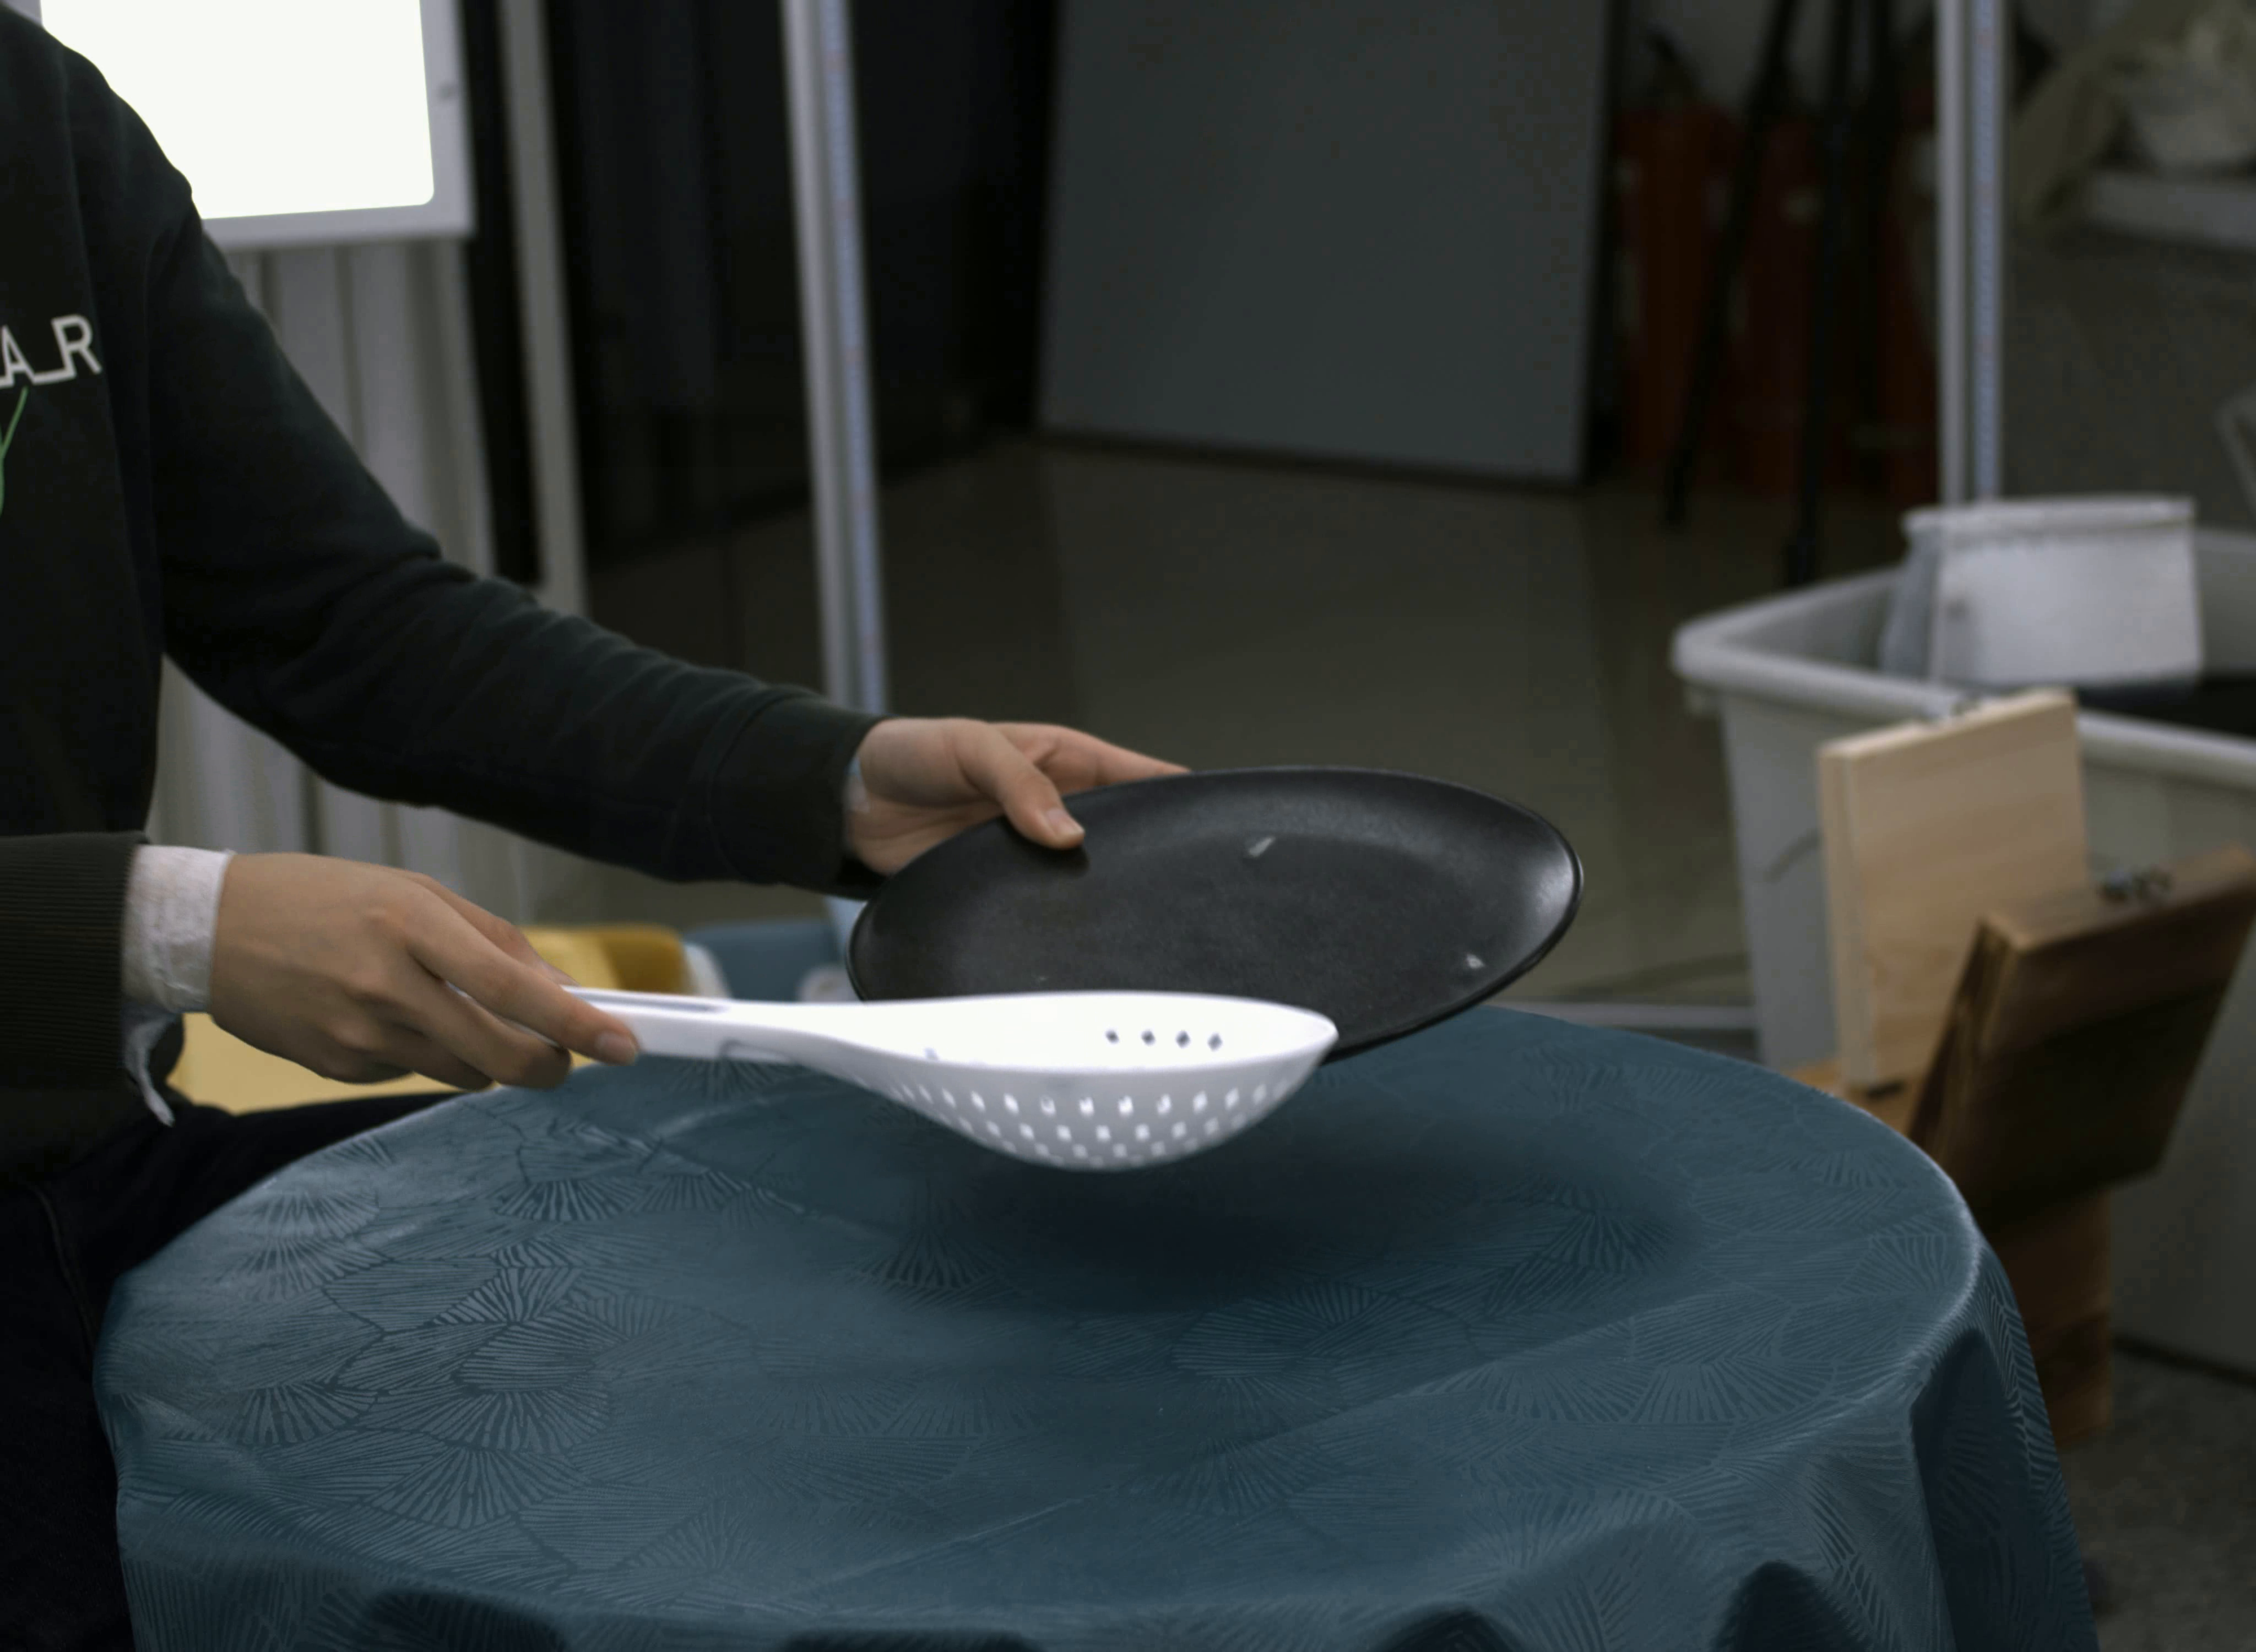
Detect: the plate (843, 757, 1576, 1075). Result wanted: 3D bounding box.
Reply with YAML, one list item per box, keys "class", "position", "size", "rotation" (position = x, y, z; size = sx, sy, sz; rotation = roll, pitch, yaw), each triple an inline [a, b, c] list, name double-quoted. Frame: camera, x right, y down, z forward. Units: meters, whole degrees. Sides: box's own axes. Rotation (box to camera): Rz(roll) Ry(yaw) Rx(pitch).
- class: "plate"
  position: [0.027, 0.034, 1.755]
  size: [0.241, 0.023, 0.245]
  rotation: [-7, 22, 2]

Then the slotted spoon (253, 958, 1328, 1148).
- class: "slotted spoon"
  position: [-0.106, 0.056, 1.590]
  size: [0.350, 0.046, 0.134]
  rotation: [7, 8, 25]
